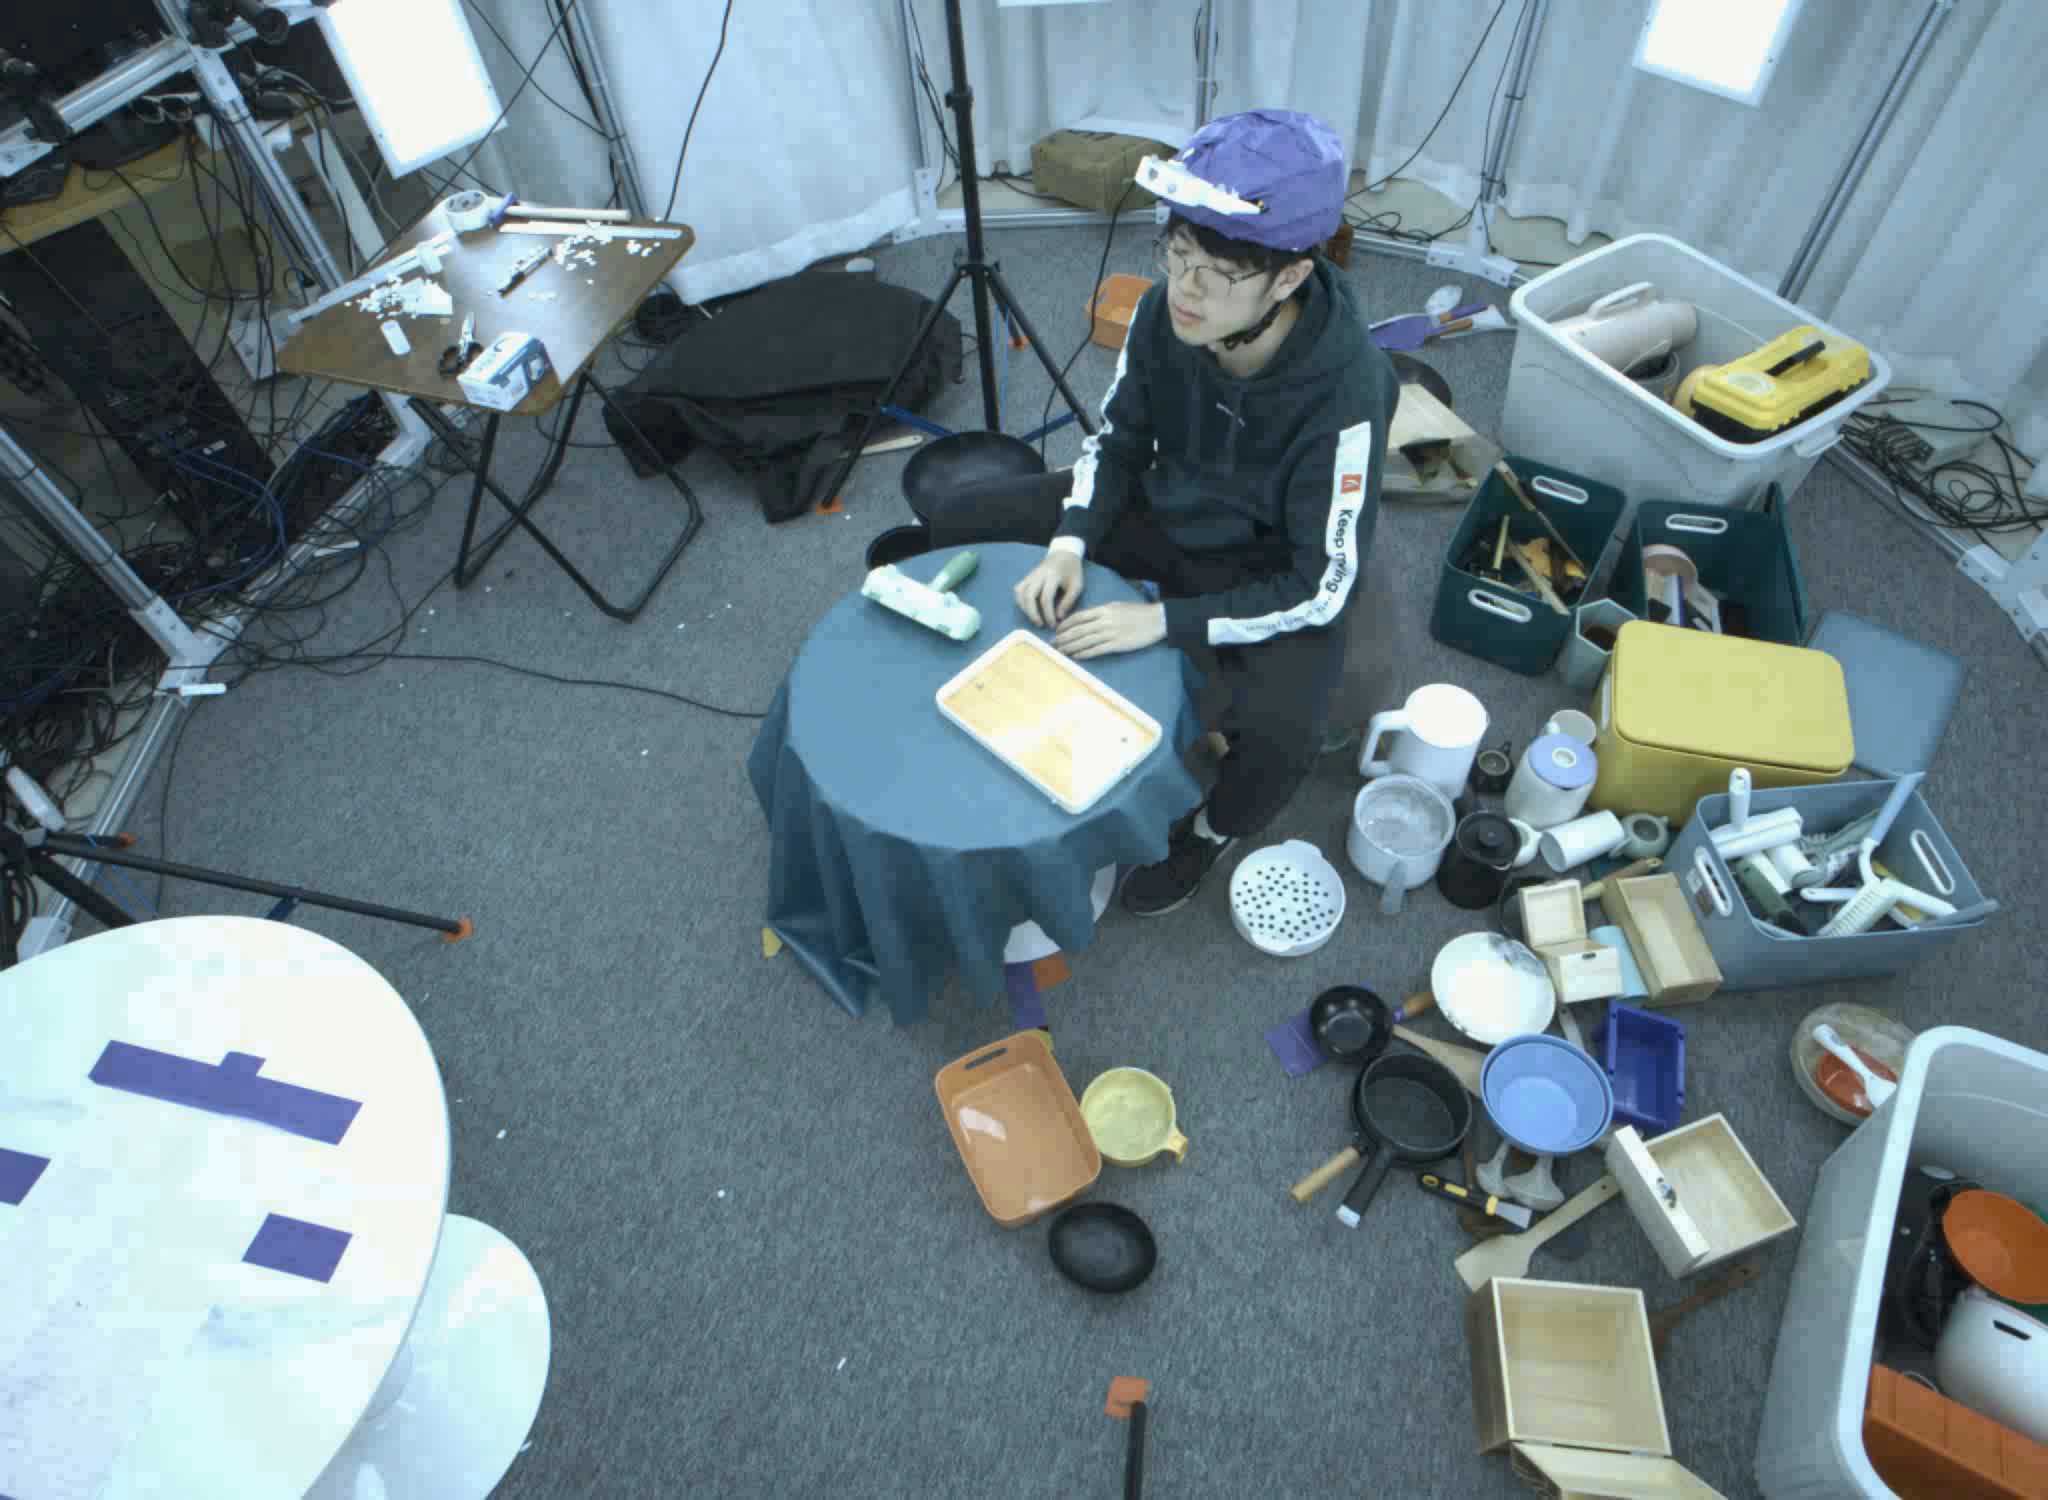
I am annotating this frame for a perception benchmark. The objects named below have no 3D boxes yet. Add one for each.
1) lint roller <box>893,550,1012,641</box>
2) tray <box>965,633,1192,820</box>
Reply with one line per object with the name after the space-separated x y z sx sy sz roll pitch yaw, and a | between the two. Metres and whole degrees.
-0.081 -0.273 1.934 0.195 0.083 0.184 29 65 21 | lint roller
0.077 -0.040 1.792 0.193 0.028 0.295 -38 62 -23 | tray
